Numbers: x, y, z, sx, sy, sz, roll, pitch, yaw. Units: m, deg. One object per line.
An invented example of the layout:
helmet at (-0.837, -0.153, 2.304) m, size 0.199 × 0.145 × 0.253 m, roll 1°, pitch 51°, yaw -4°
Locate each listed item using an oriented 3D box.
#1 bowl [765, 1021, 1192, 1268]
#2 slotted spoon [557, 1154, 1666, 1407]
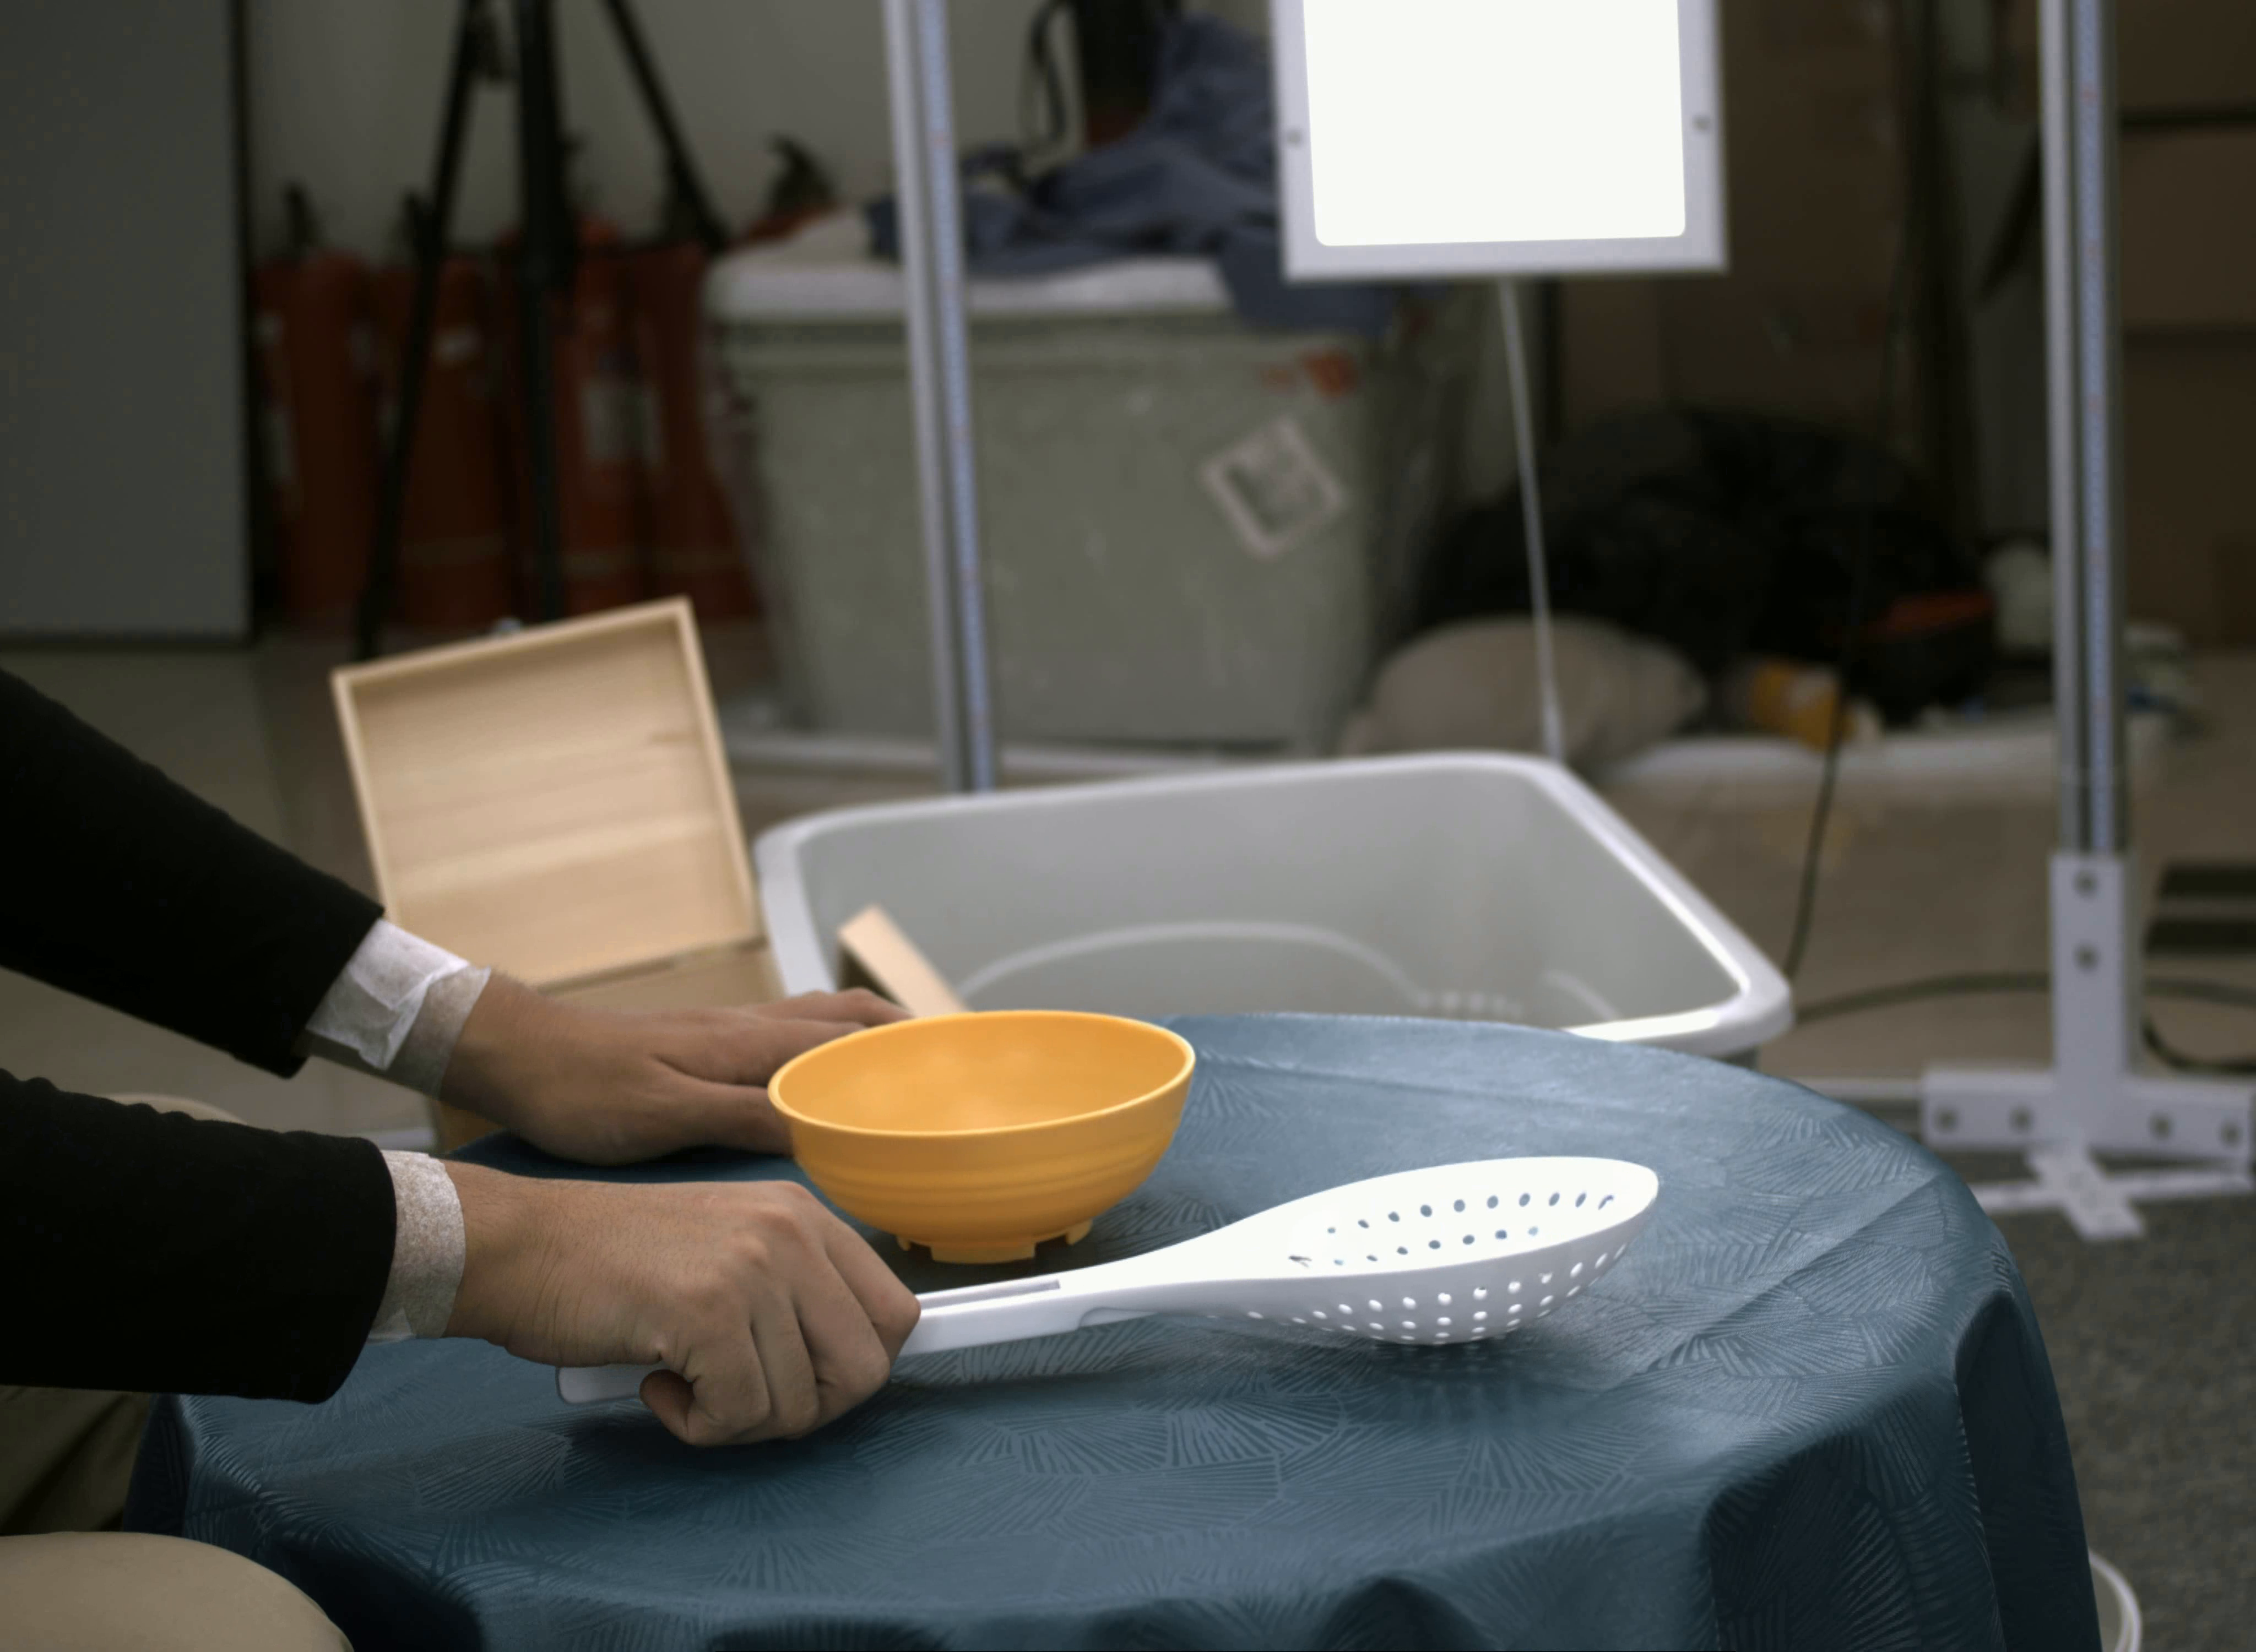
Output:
bowl at (-0.049, 0.111, 1.859) m, size 0.145 × 0.060 × 0.145 m, roll -3°, pitch 13°, yaw -1°
slotted spoon at (-0.004, 0.144, 1.715) m, size 0.348 × 0.046 × 0.136 m, roll -4°, pitch 8°, yaw -2°
